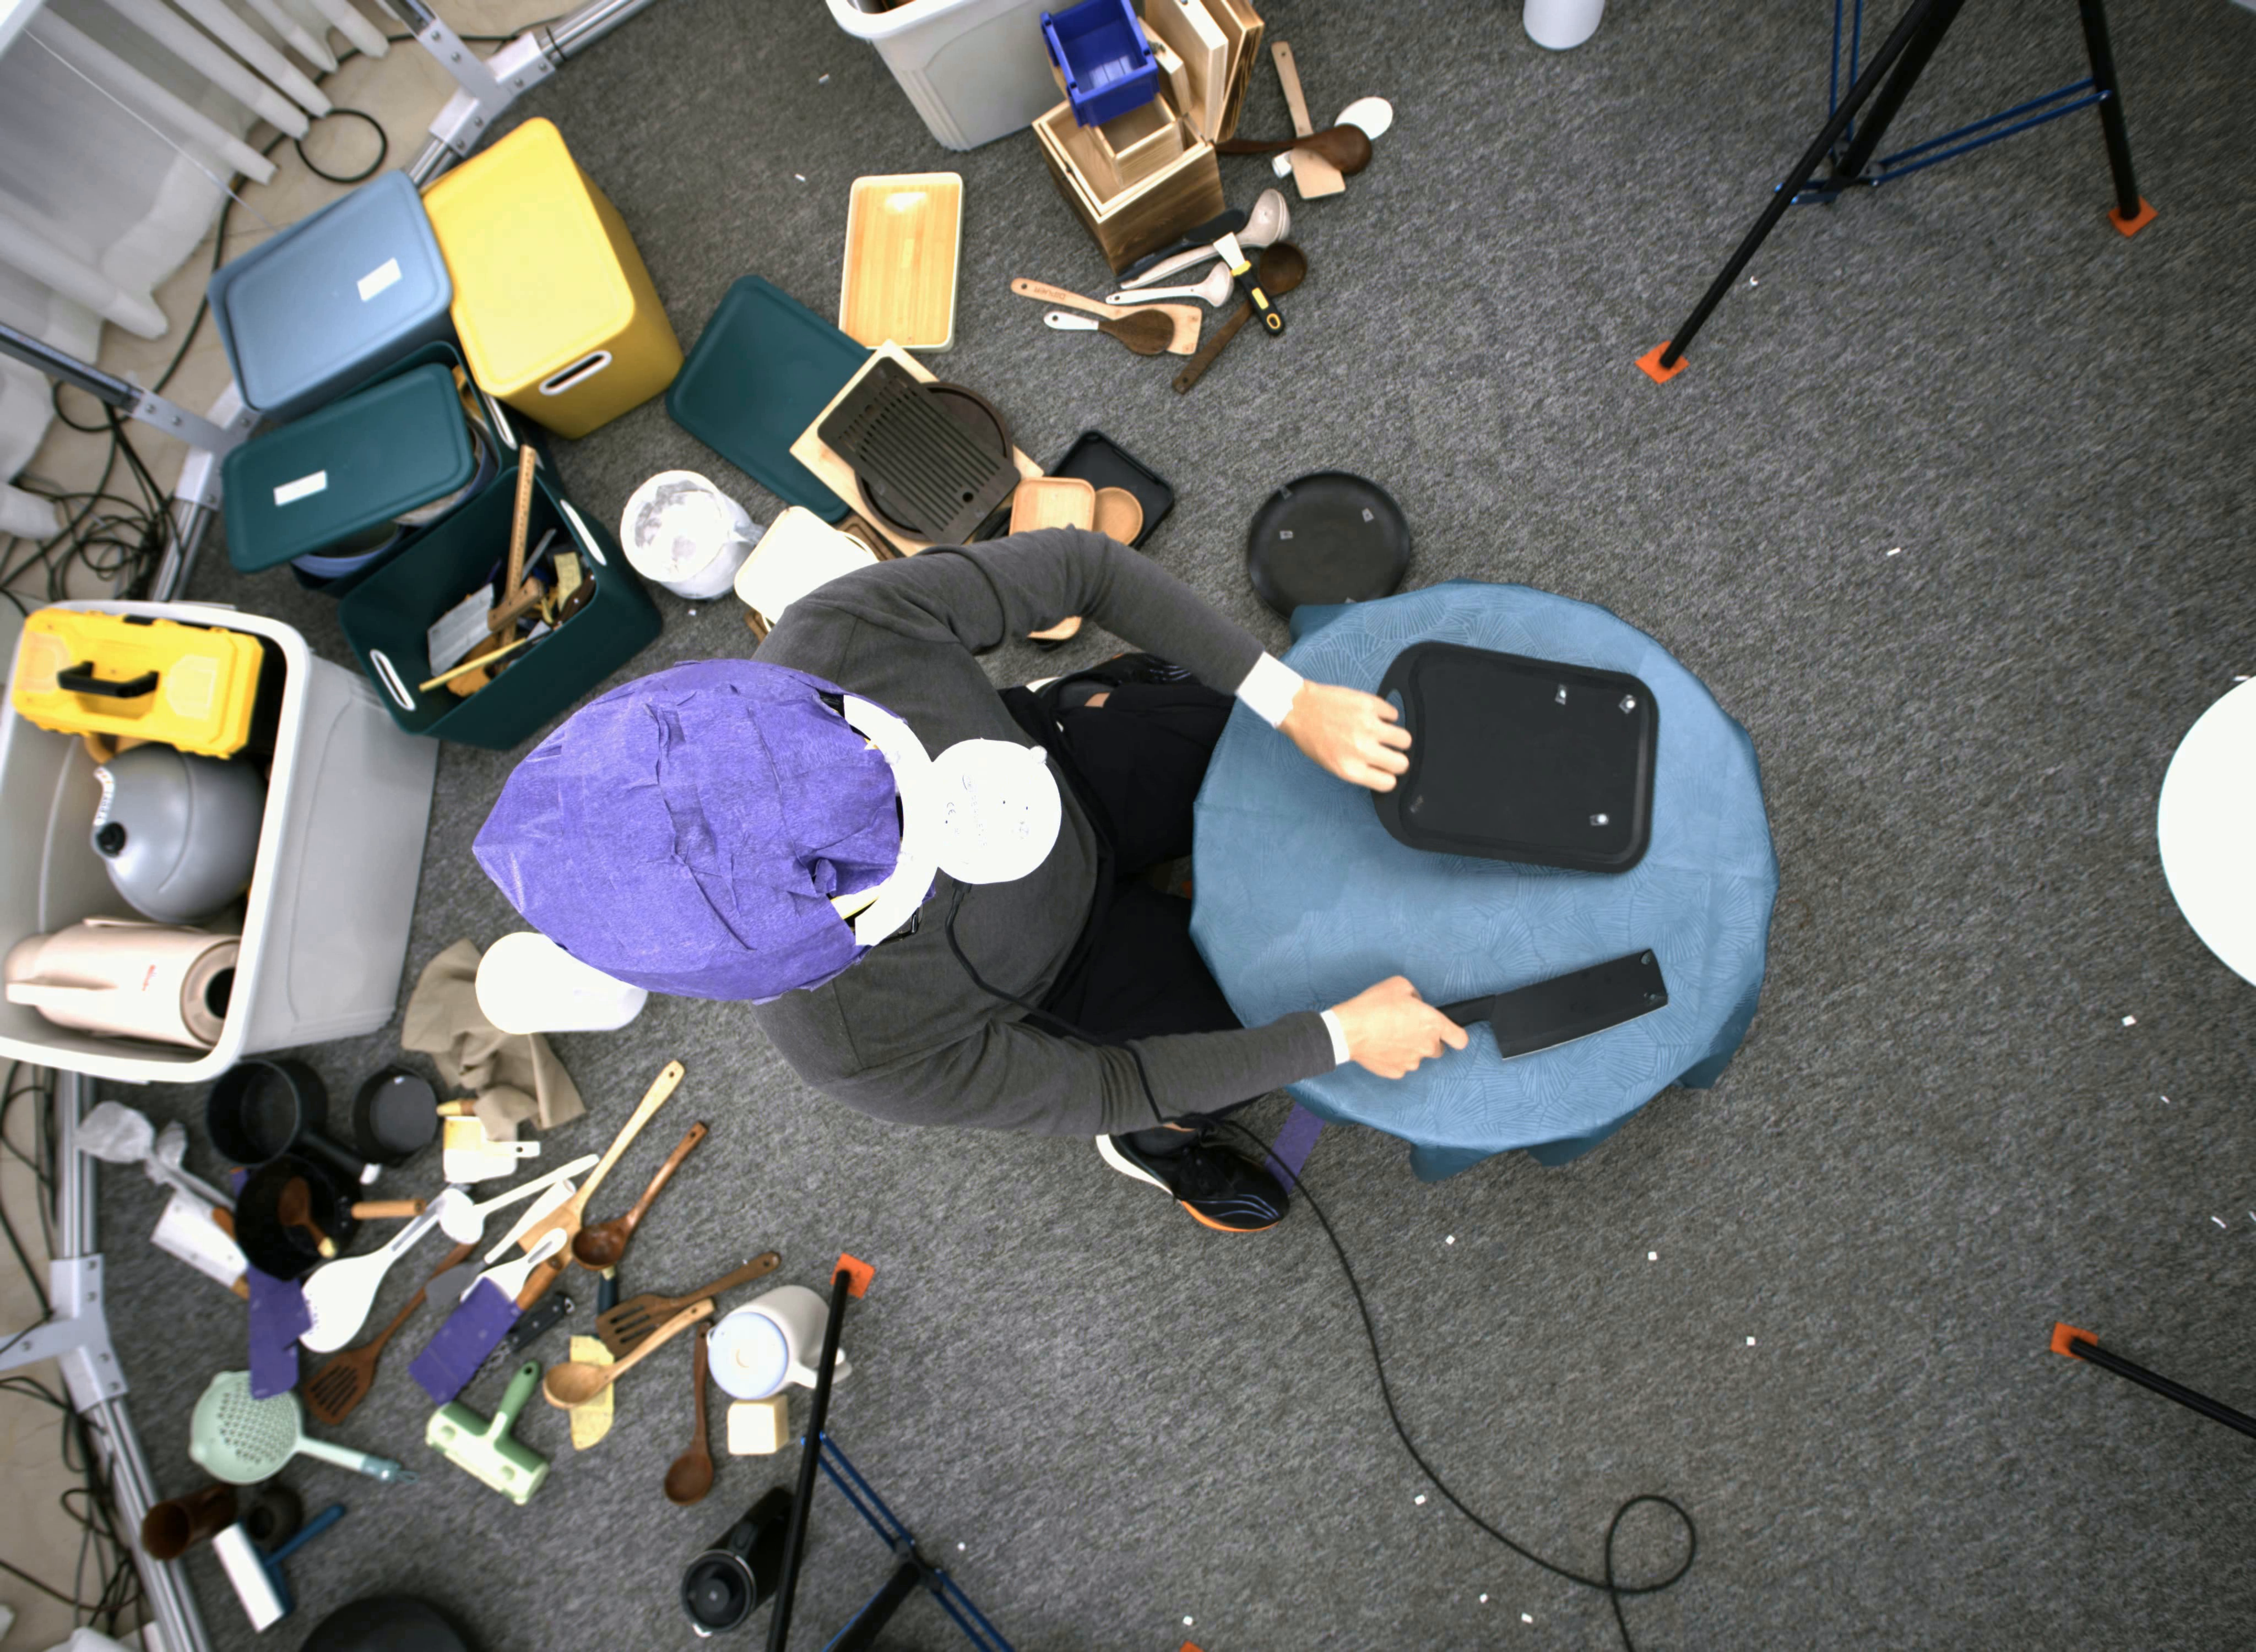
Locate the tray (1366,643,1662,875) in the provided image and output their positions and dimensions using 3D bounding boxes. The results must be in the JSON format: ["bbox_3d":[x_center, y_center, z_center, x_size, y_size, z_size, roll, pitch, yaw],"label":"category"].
[{"bbox_3d":[0.392,-0.069,1.380,0.325,0.010,0.210,7,88,-11],"label":"tray"}]

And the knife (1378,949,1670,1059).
[{"bbox_3d":[0.402,0.191,1.408,0.303,0.021,0.081,-13,89,3],"label":"knife"}]
